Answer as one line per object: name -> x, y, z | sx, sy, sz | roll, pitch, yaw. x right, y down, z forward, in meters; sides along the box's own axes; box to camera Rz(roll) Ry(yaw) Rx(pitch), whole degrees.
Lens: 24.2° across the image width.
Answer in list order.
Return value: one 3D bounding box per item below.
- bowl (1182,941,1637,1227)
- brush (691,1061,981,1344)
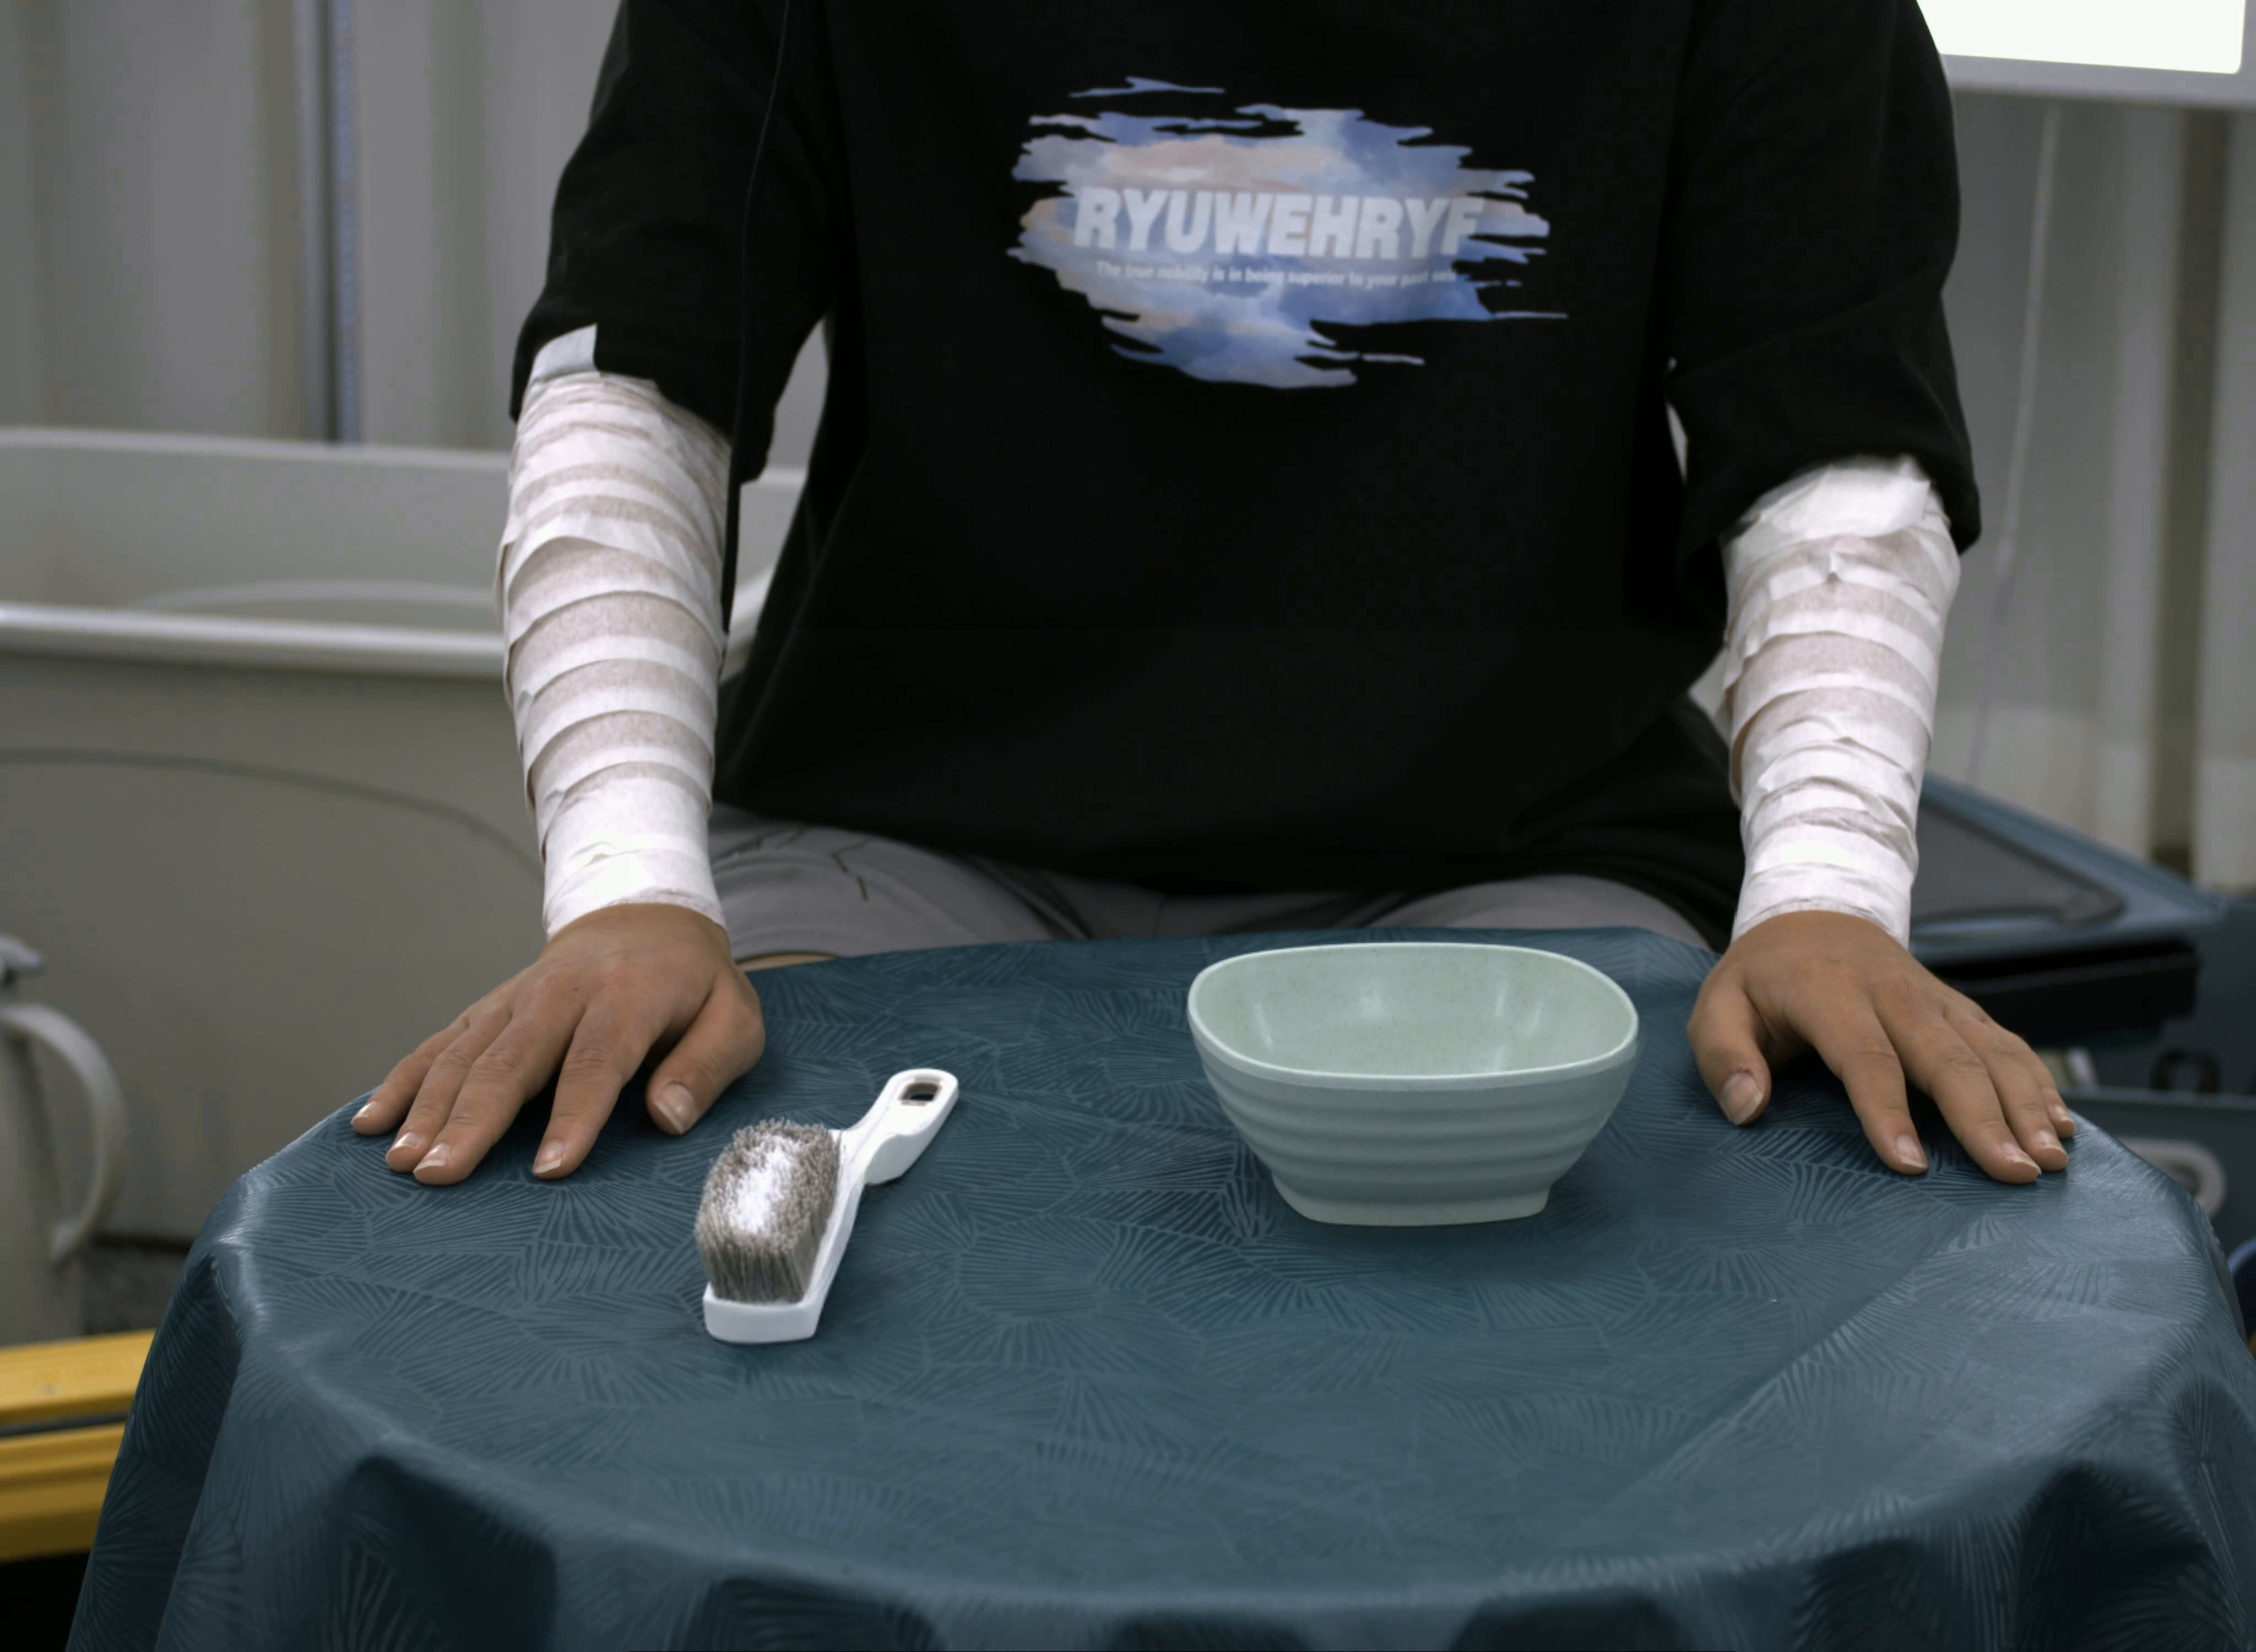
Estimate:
bowl -> 0.086, 0.083, 1.628 | 0.151, 0.059, 0.150 | 2, 16, 0
brush -> -0.084, 0.094, 1.591 | 0.034, 0.050, 0.243 | 4, 17, 12
